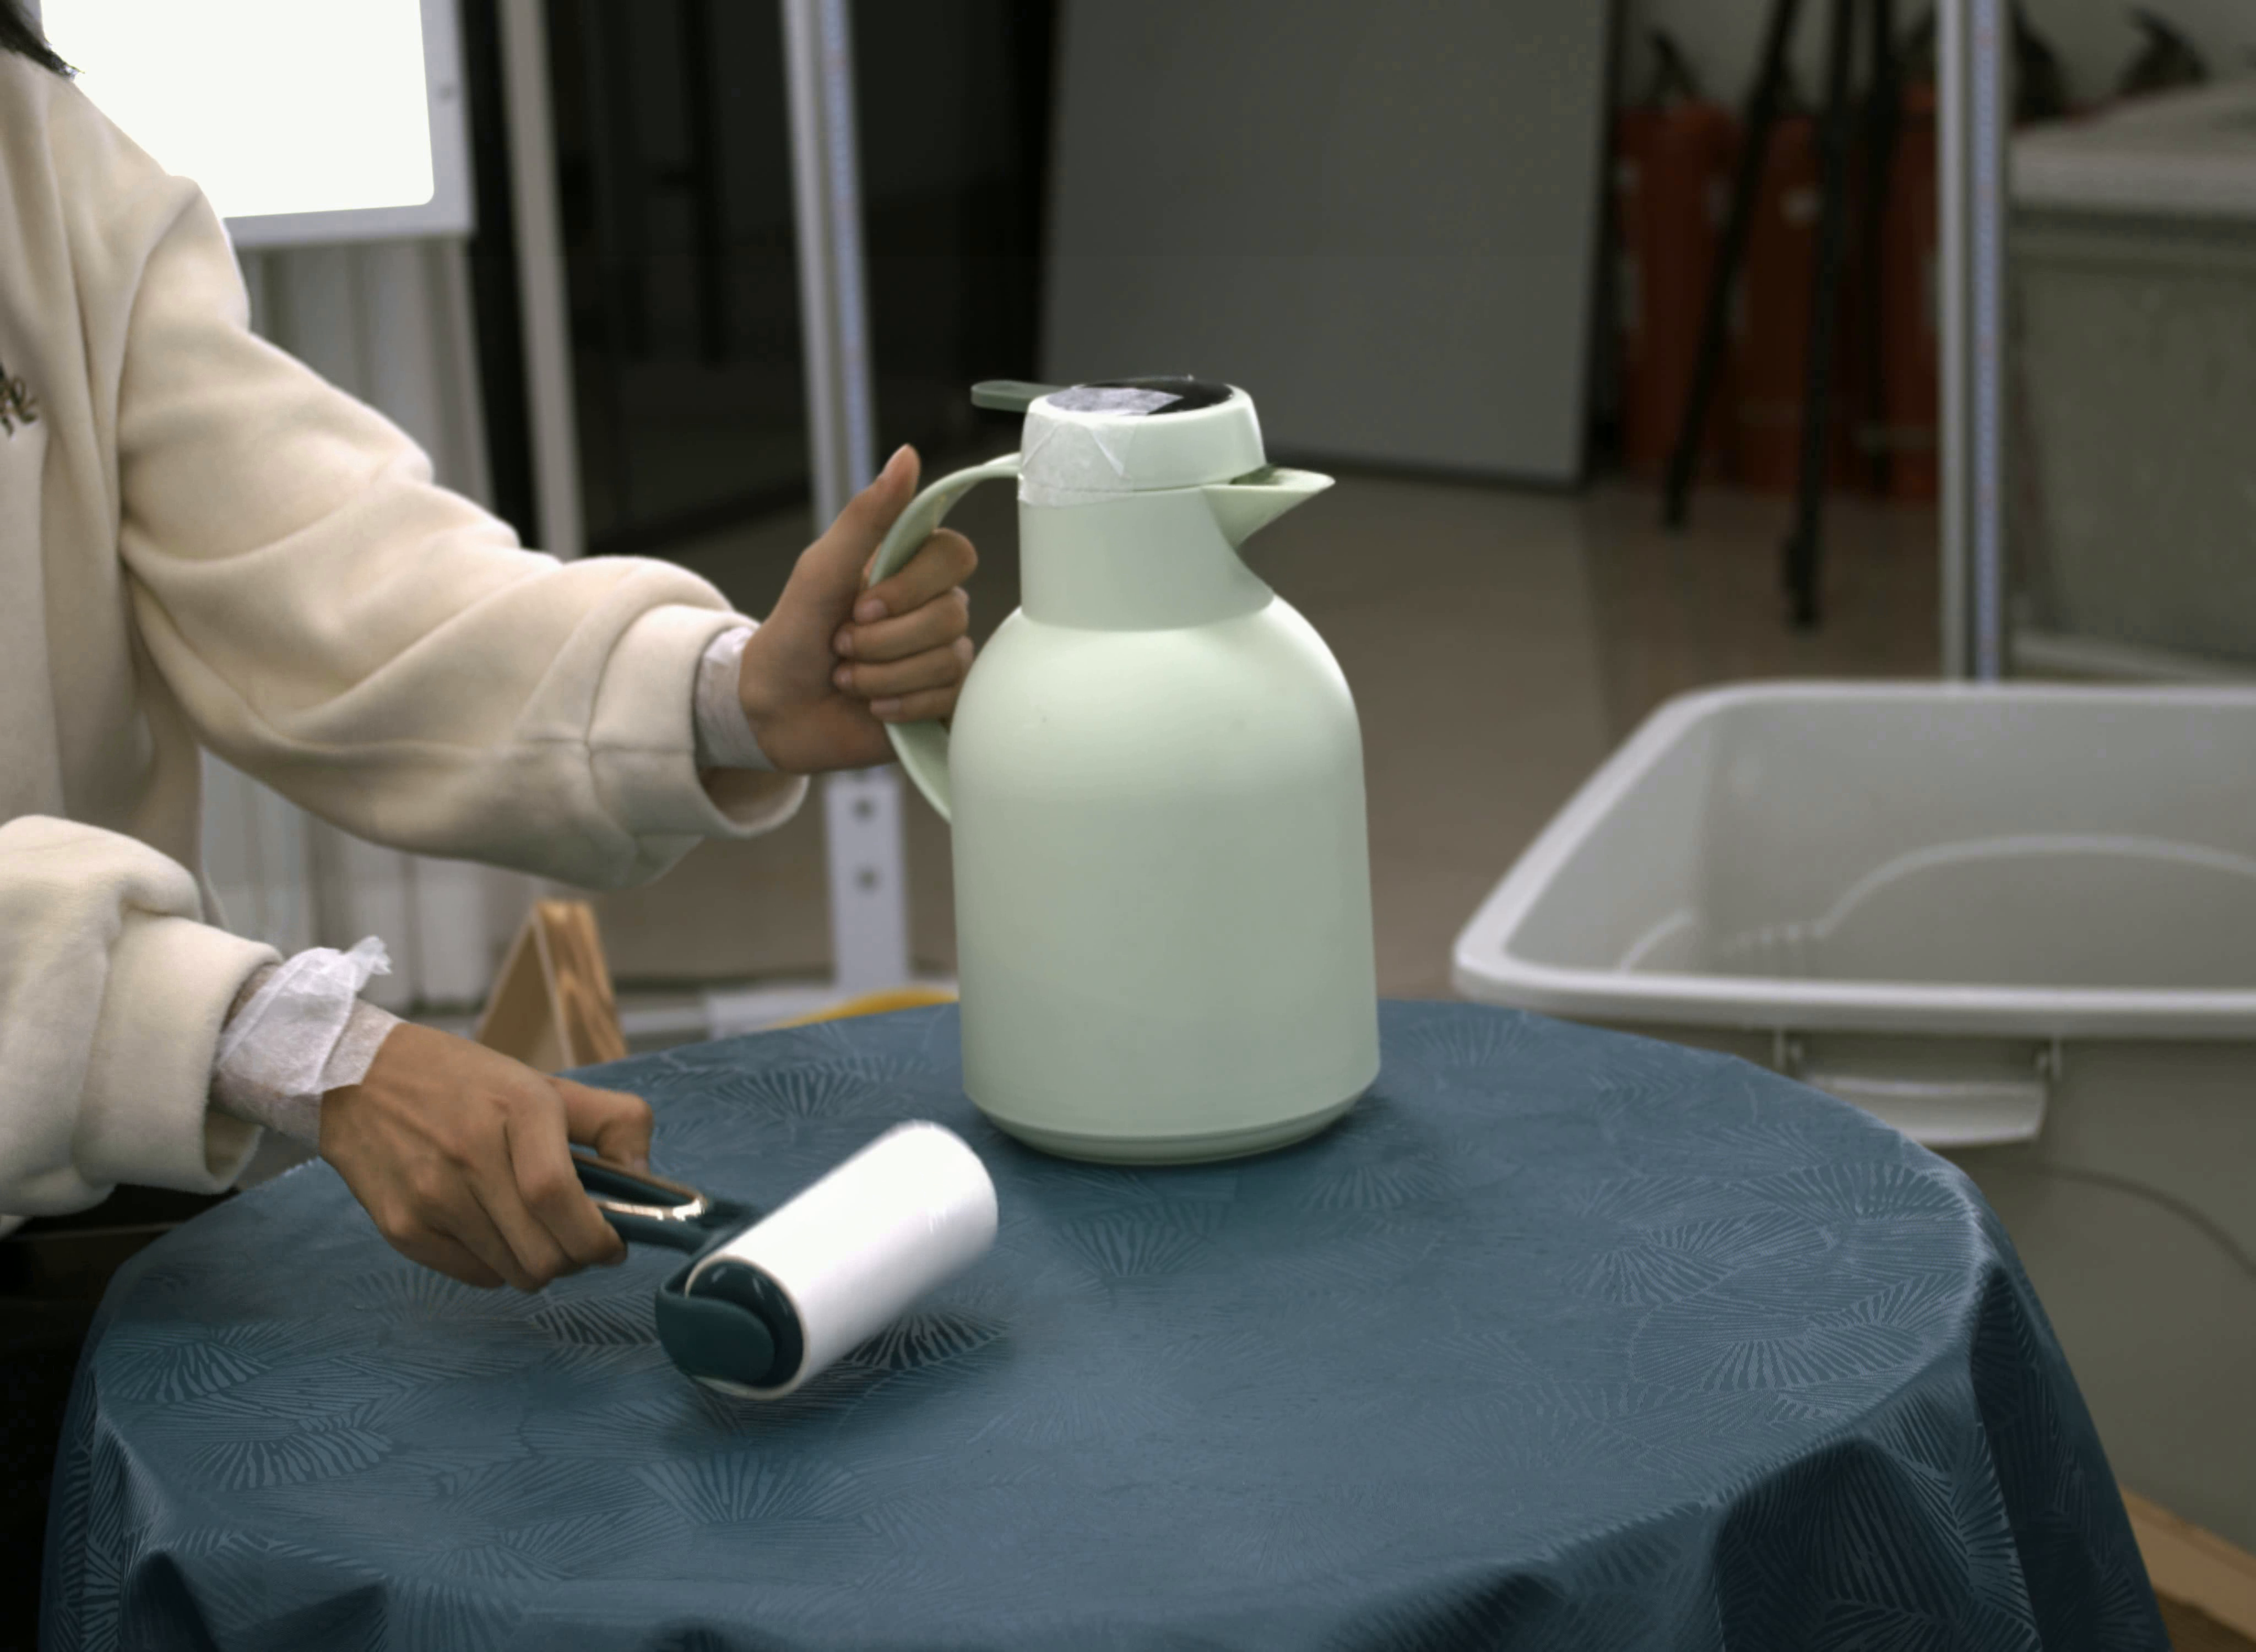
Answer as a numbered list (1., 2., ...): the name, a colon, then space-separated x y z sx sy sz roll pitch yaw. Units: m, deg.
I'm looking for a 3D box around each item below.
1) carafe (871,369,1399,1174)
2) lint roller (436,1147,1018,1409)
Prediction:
1. carafe: 0.000 -0.023 1.830 0.188 0.259 0.142 2 16 35
2. lint roller: -0.139 0.116 1.646 0.181 0.049 0.132 19 27 31
